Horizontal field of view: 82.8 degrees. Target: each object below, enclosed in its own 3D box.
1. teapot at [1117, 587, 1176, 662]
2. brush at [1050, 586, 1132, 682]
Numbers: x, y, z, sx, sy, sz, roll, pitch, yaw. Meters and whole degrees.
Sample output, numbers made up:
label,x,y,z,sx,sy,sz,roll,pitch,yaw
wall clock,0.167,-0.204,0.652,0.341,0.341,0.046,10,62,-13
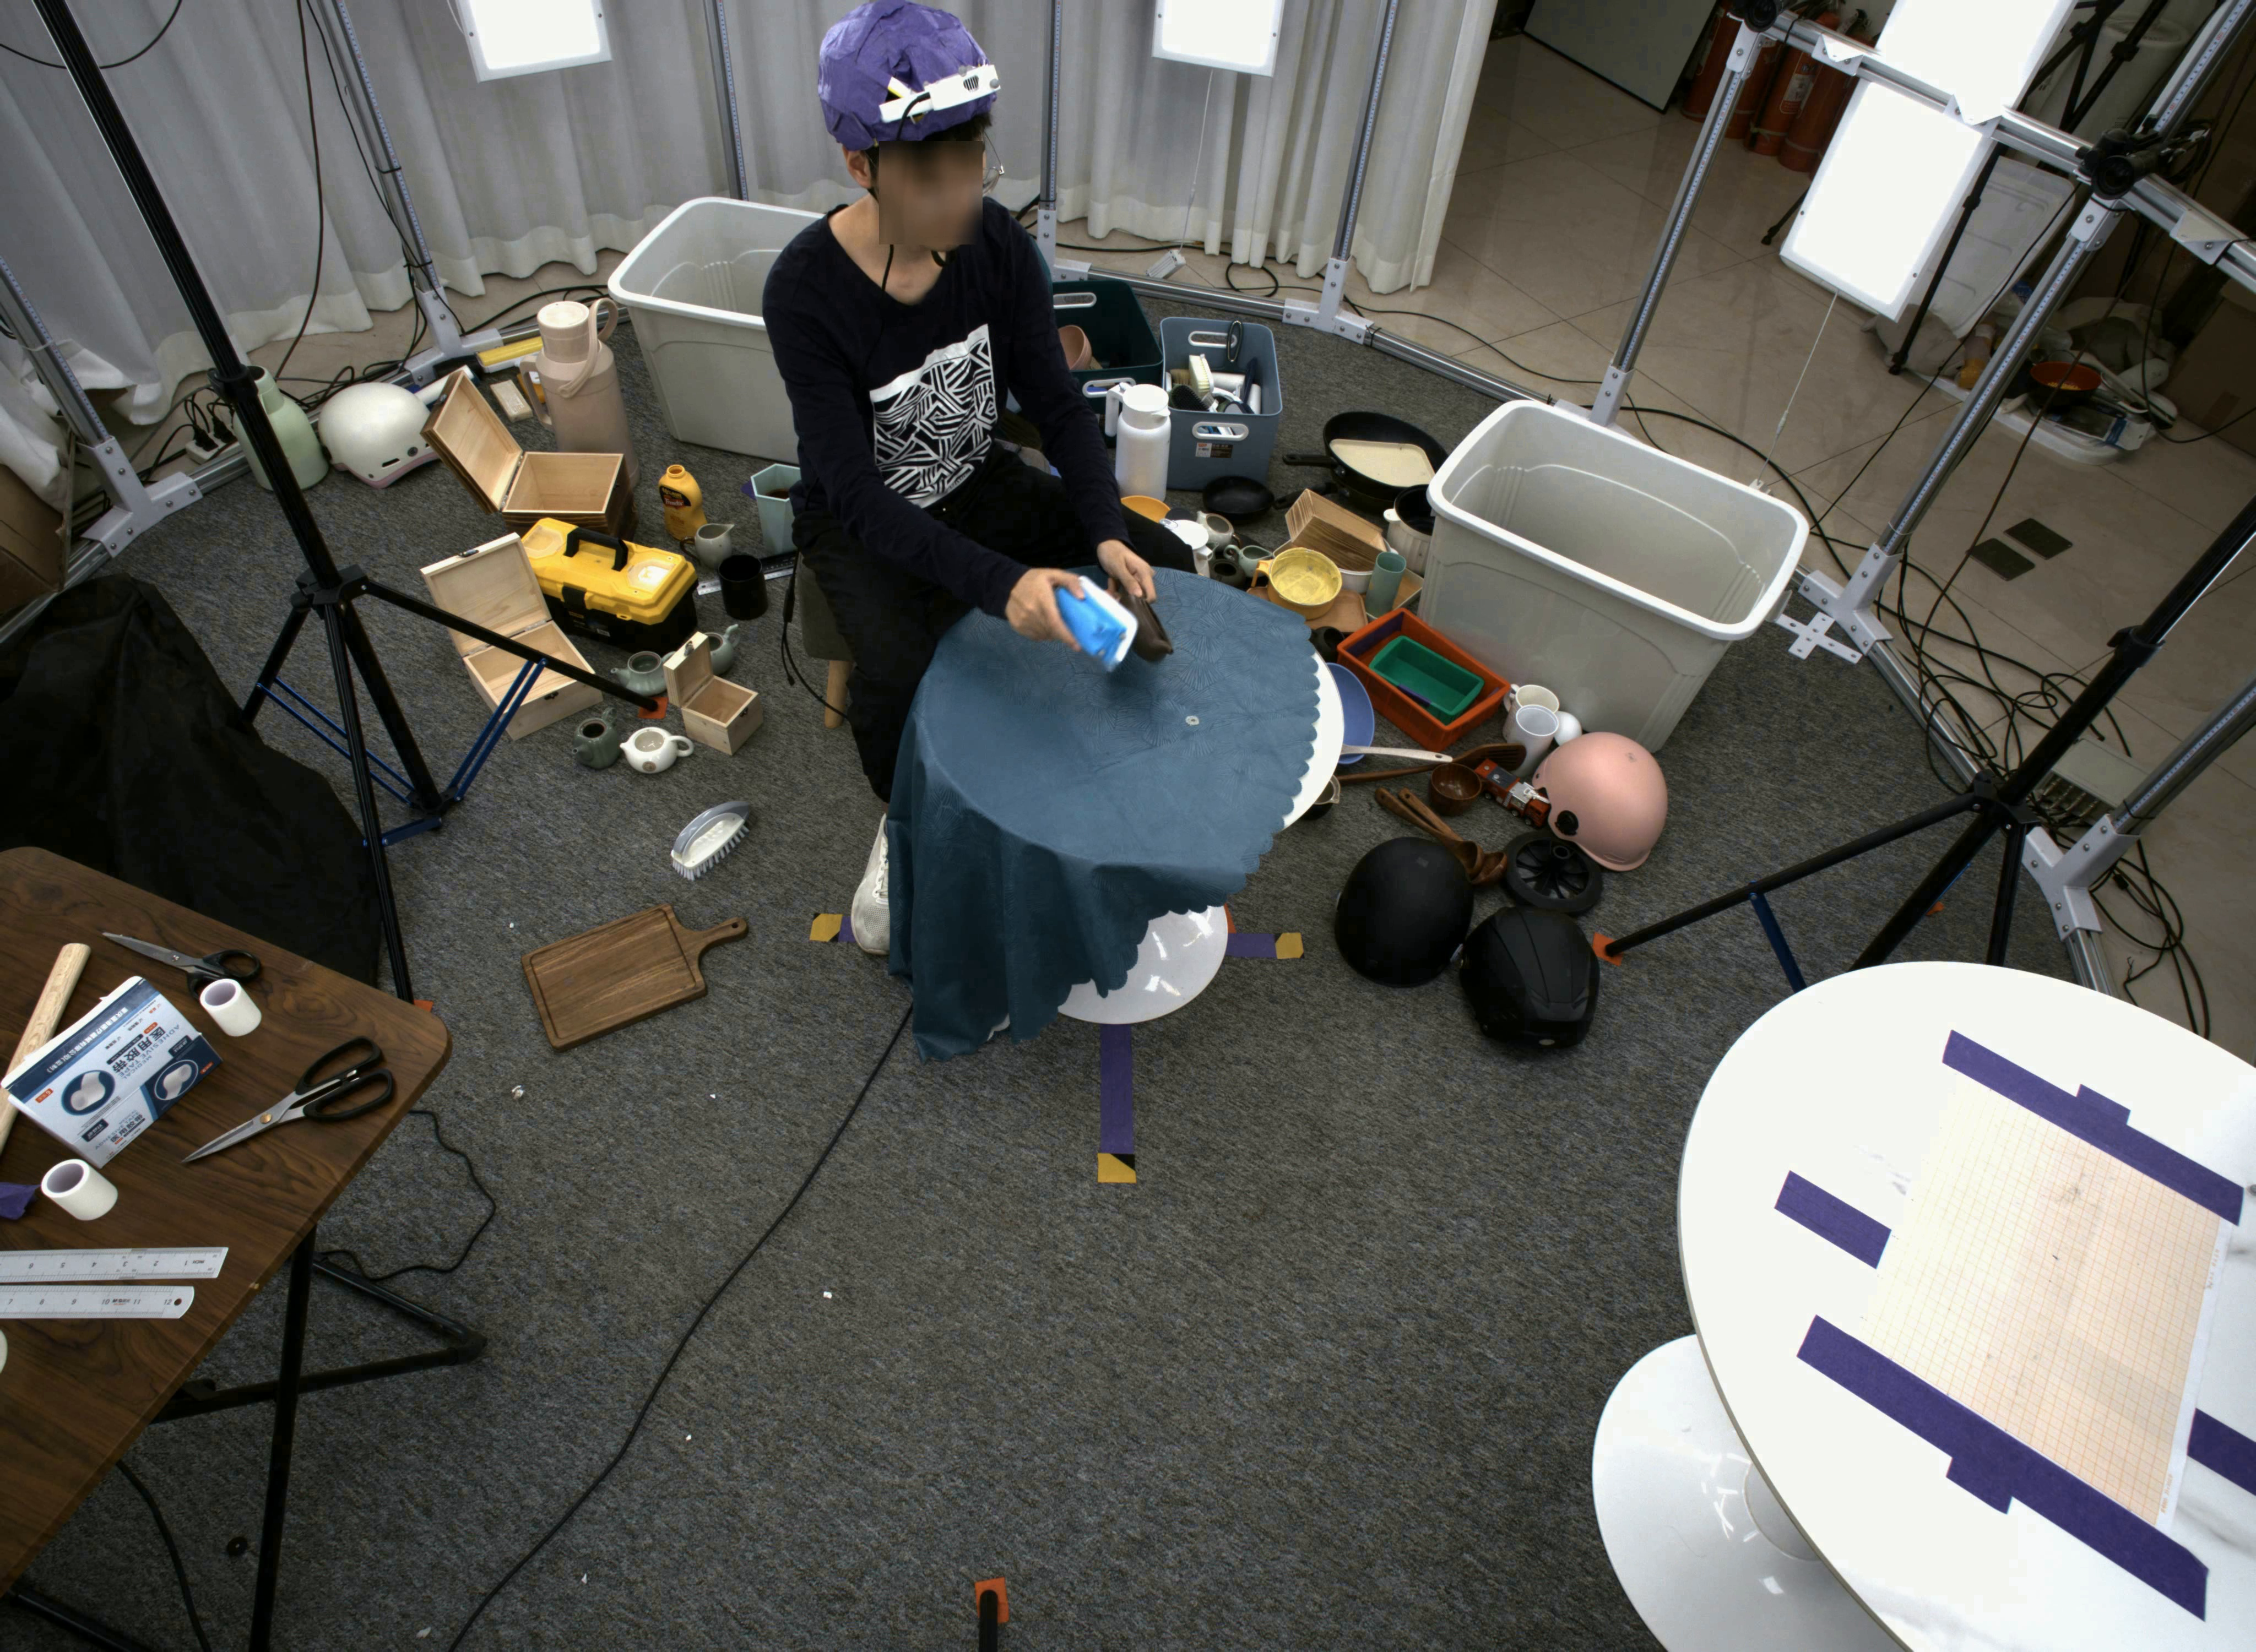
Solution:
label,x,y,z,sx,sy,sz,roll,pitch,yaw
teapot,0.023,-0.284,1.821,0.053,0.100,0.157,-29,53,11
brush,-0.059,-0.263,1.739,0.055,0.083,0.147,11,31,-48
